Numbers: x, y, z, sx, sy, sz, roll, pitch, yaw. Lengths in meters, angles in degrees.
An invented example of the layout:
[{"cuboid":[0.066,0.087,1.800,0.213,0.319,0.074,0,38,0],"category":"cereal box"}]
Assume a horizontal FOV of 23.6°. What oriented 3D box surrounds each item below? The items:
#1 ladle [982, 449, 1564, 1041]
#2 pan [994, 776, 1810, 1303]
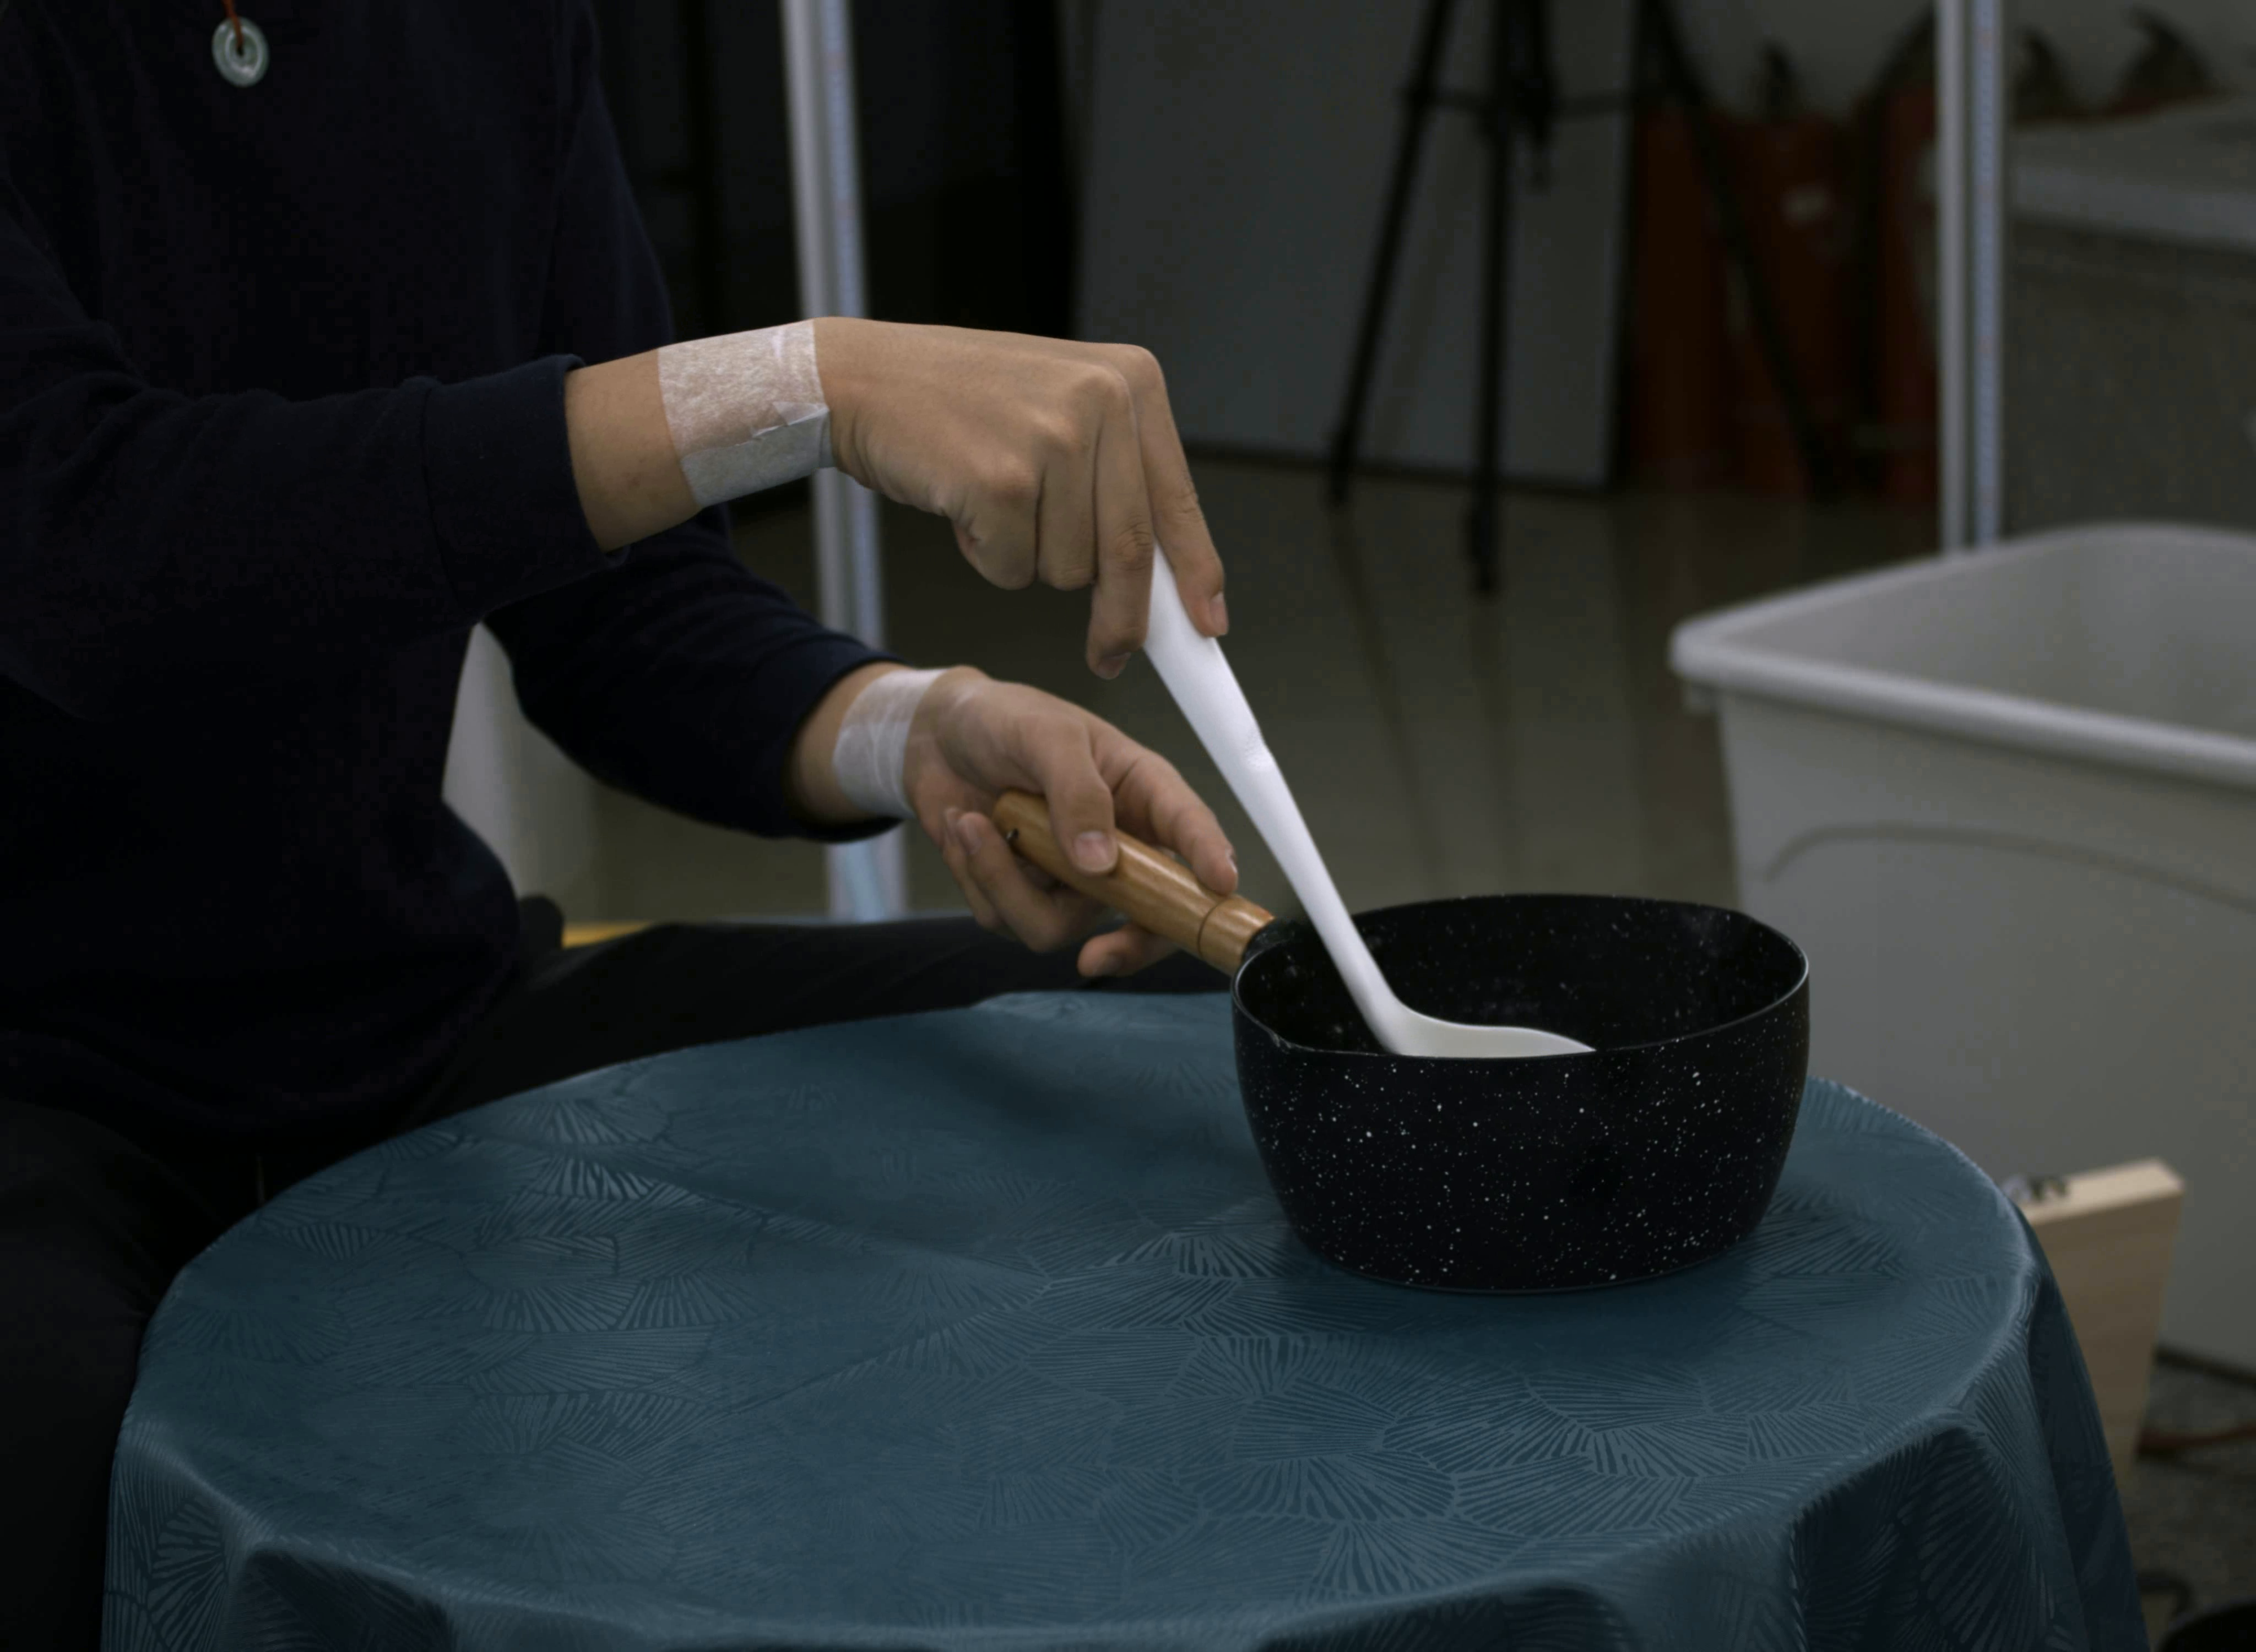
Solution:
[{"cuboid":[0.059,0.003,1.703,0.070,0.293,0.089,-28,9,43],"category":"ladle"},{"cuboid":[0.072,0.063,1.760,0.203,0.109,0.346,-17,20,-39],"category":"pan"}]
